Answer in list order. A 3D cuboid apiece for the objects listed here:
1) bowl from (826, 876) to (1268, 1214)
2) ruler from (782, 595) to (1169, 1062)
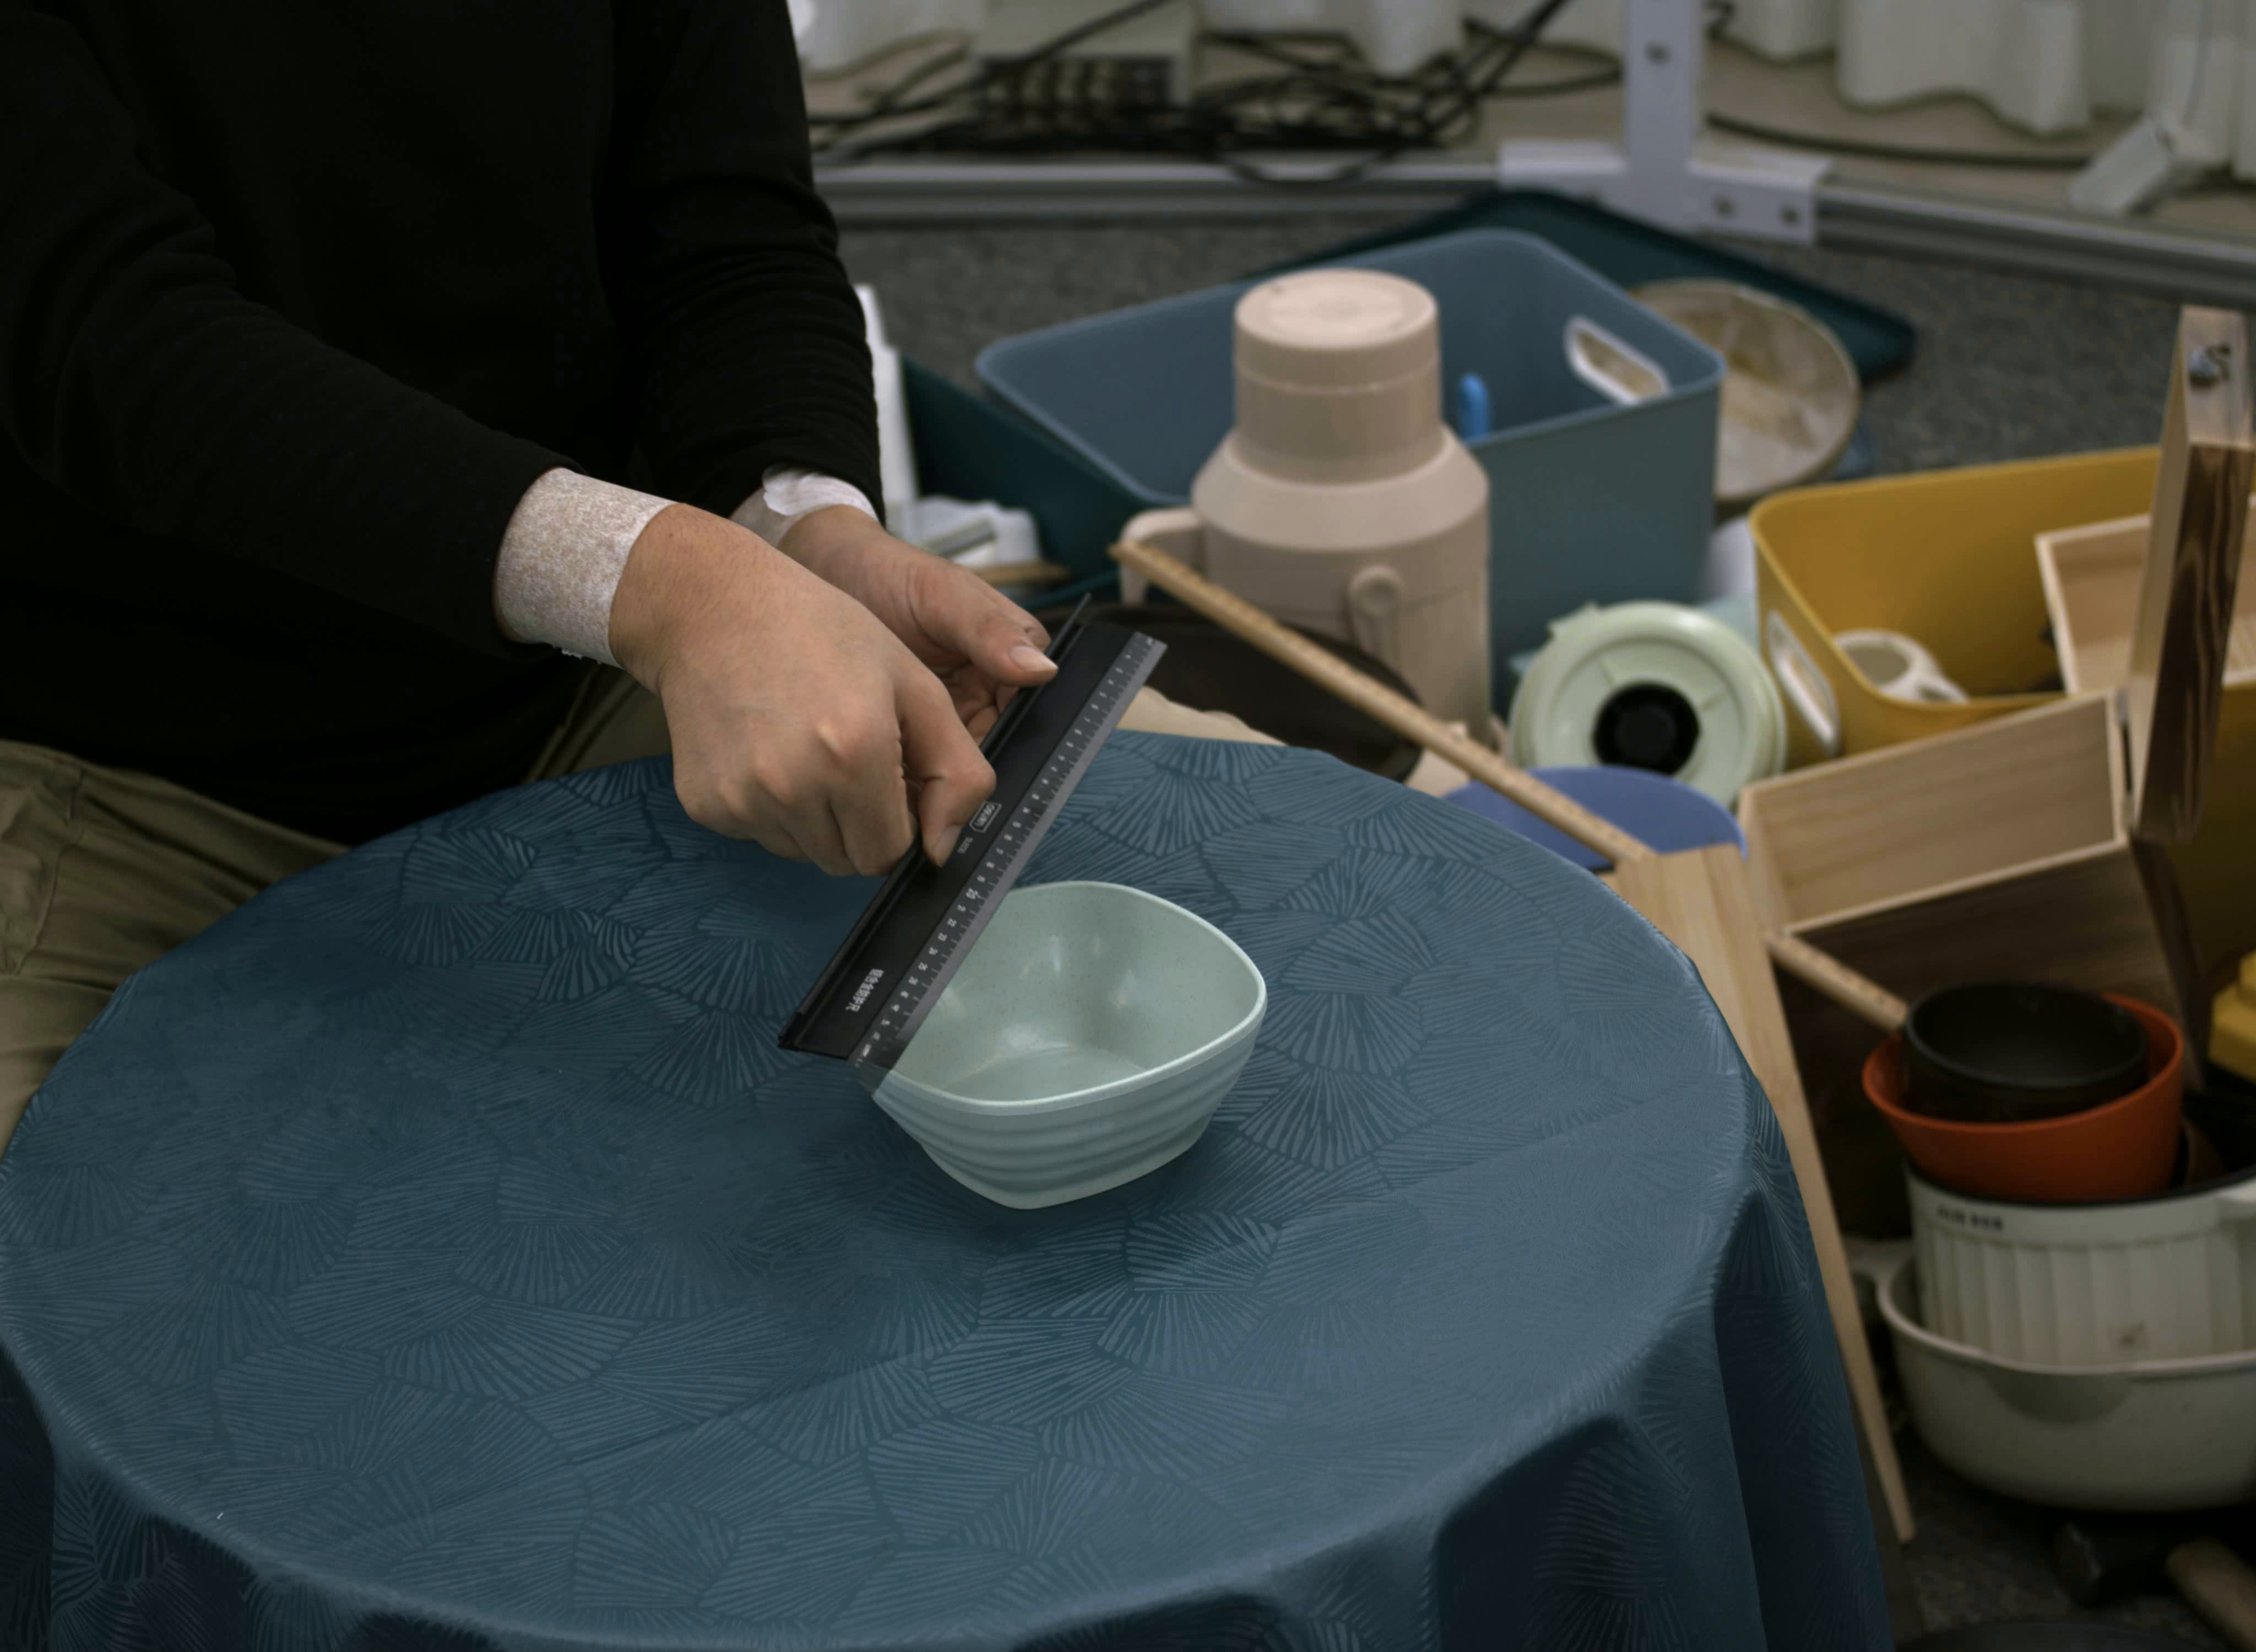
[{"bbox_3d":[-0.027,0.080,1.885,0.151,0.058,0.154,-2,29,1],"label":"bowl"},{"bbox_3d":[-0.047,-0.005,1.896,0.039,0.017,0.318,14,30,11],"label":"ruler"}]
